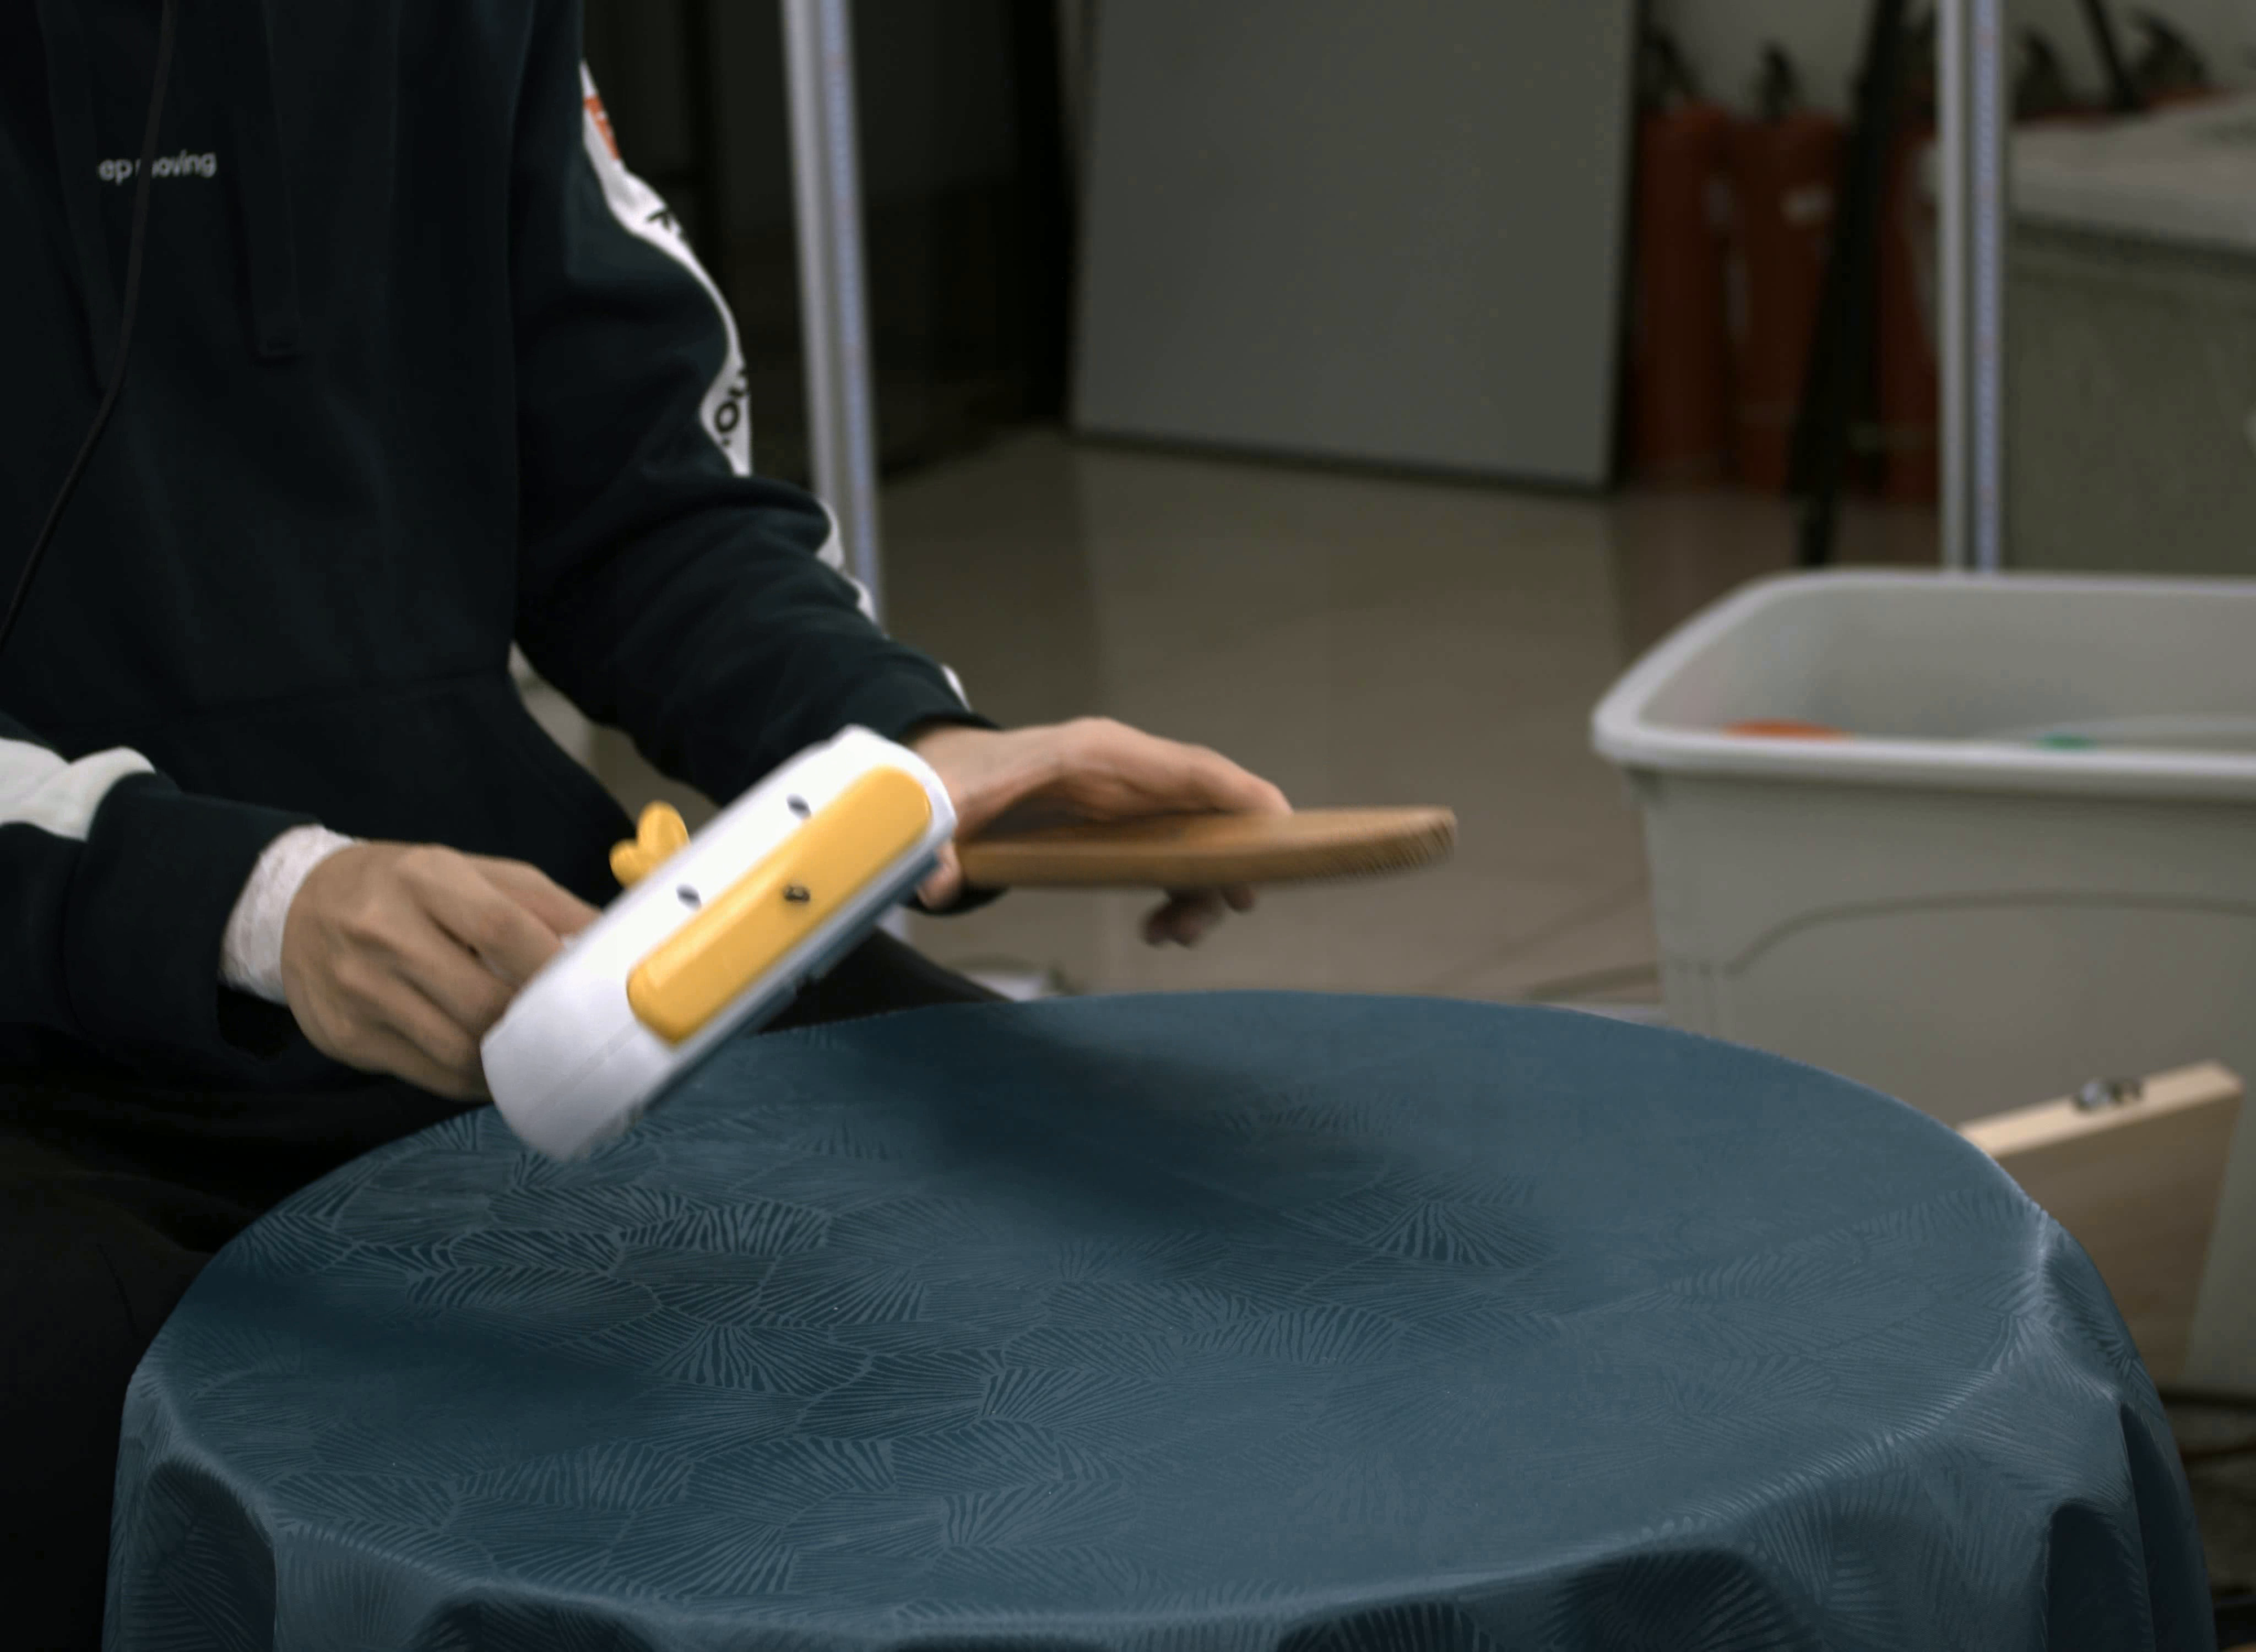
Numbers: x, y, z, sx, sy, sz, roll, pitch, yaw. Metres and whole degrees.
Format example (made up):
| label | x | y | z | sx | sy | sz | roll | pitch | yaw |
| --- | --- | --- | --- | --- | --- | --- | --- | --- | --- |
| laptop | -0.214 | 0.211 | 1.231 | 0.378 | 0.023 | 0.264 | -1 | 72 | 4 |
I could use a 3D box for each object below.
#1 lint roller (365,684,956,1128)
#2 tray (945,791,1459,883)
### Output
| label | x | y | z | sx | sy | sz | roll | pitch | yaw |
| --- | --- | --- | --- | --- | --- | --- | --- | --- | --- |
| lint roller | -0.162 | 0.041 | 1.675 | 0.194 | 0.074 | 0.191 | -31 | 13 | 41 |
| tray | 0.022 | 0.005 | 1.804 | 0.099 | 0.020 | 0.233 | -9 | 4 | -32 |
